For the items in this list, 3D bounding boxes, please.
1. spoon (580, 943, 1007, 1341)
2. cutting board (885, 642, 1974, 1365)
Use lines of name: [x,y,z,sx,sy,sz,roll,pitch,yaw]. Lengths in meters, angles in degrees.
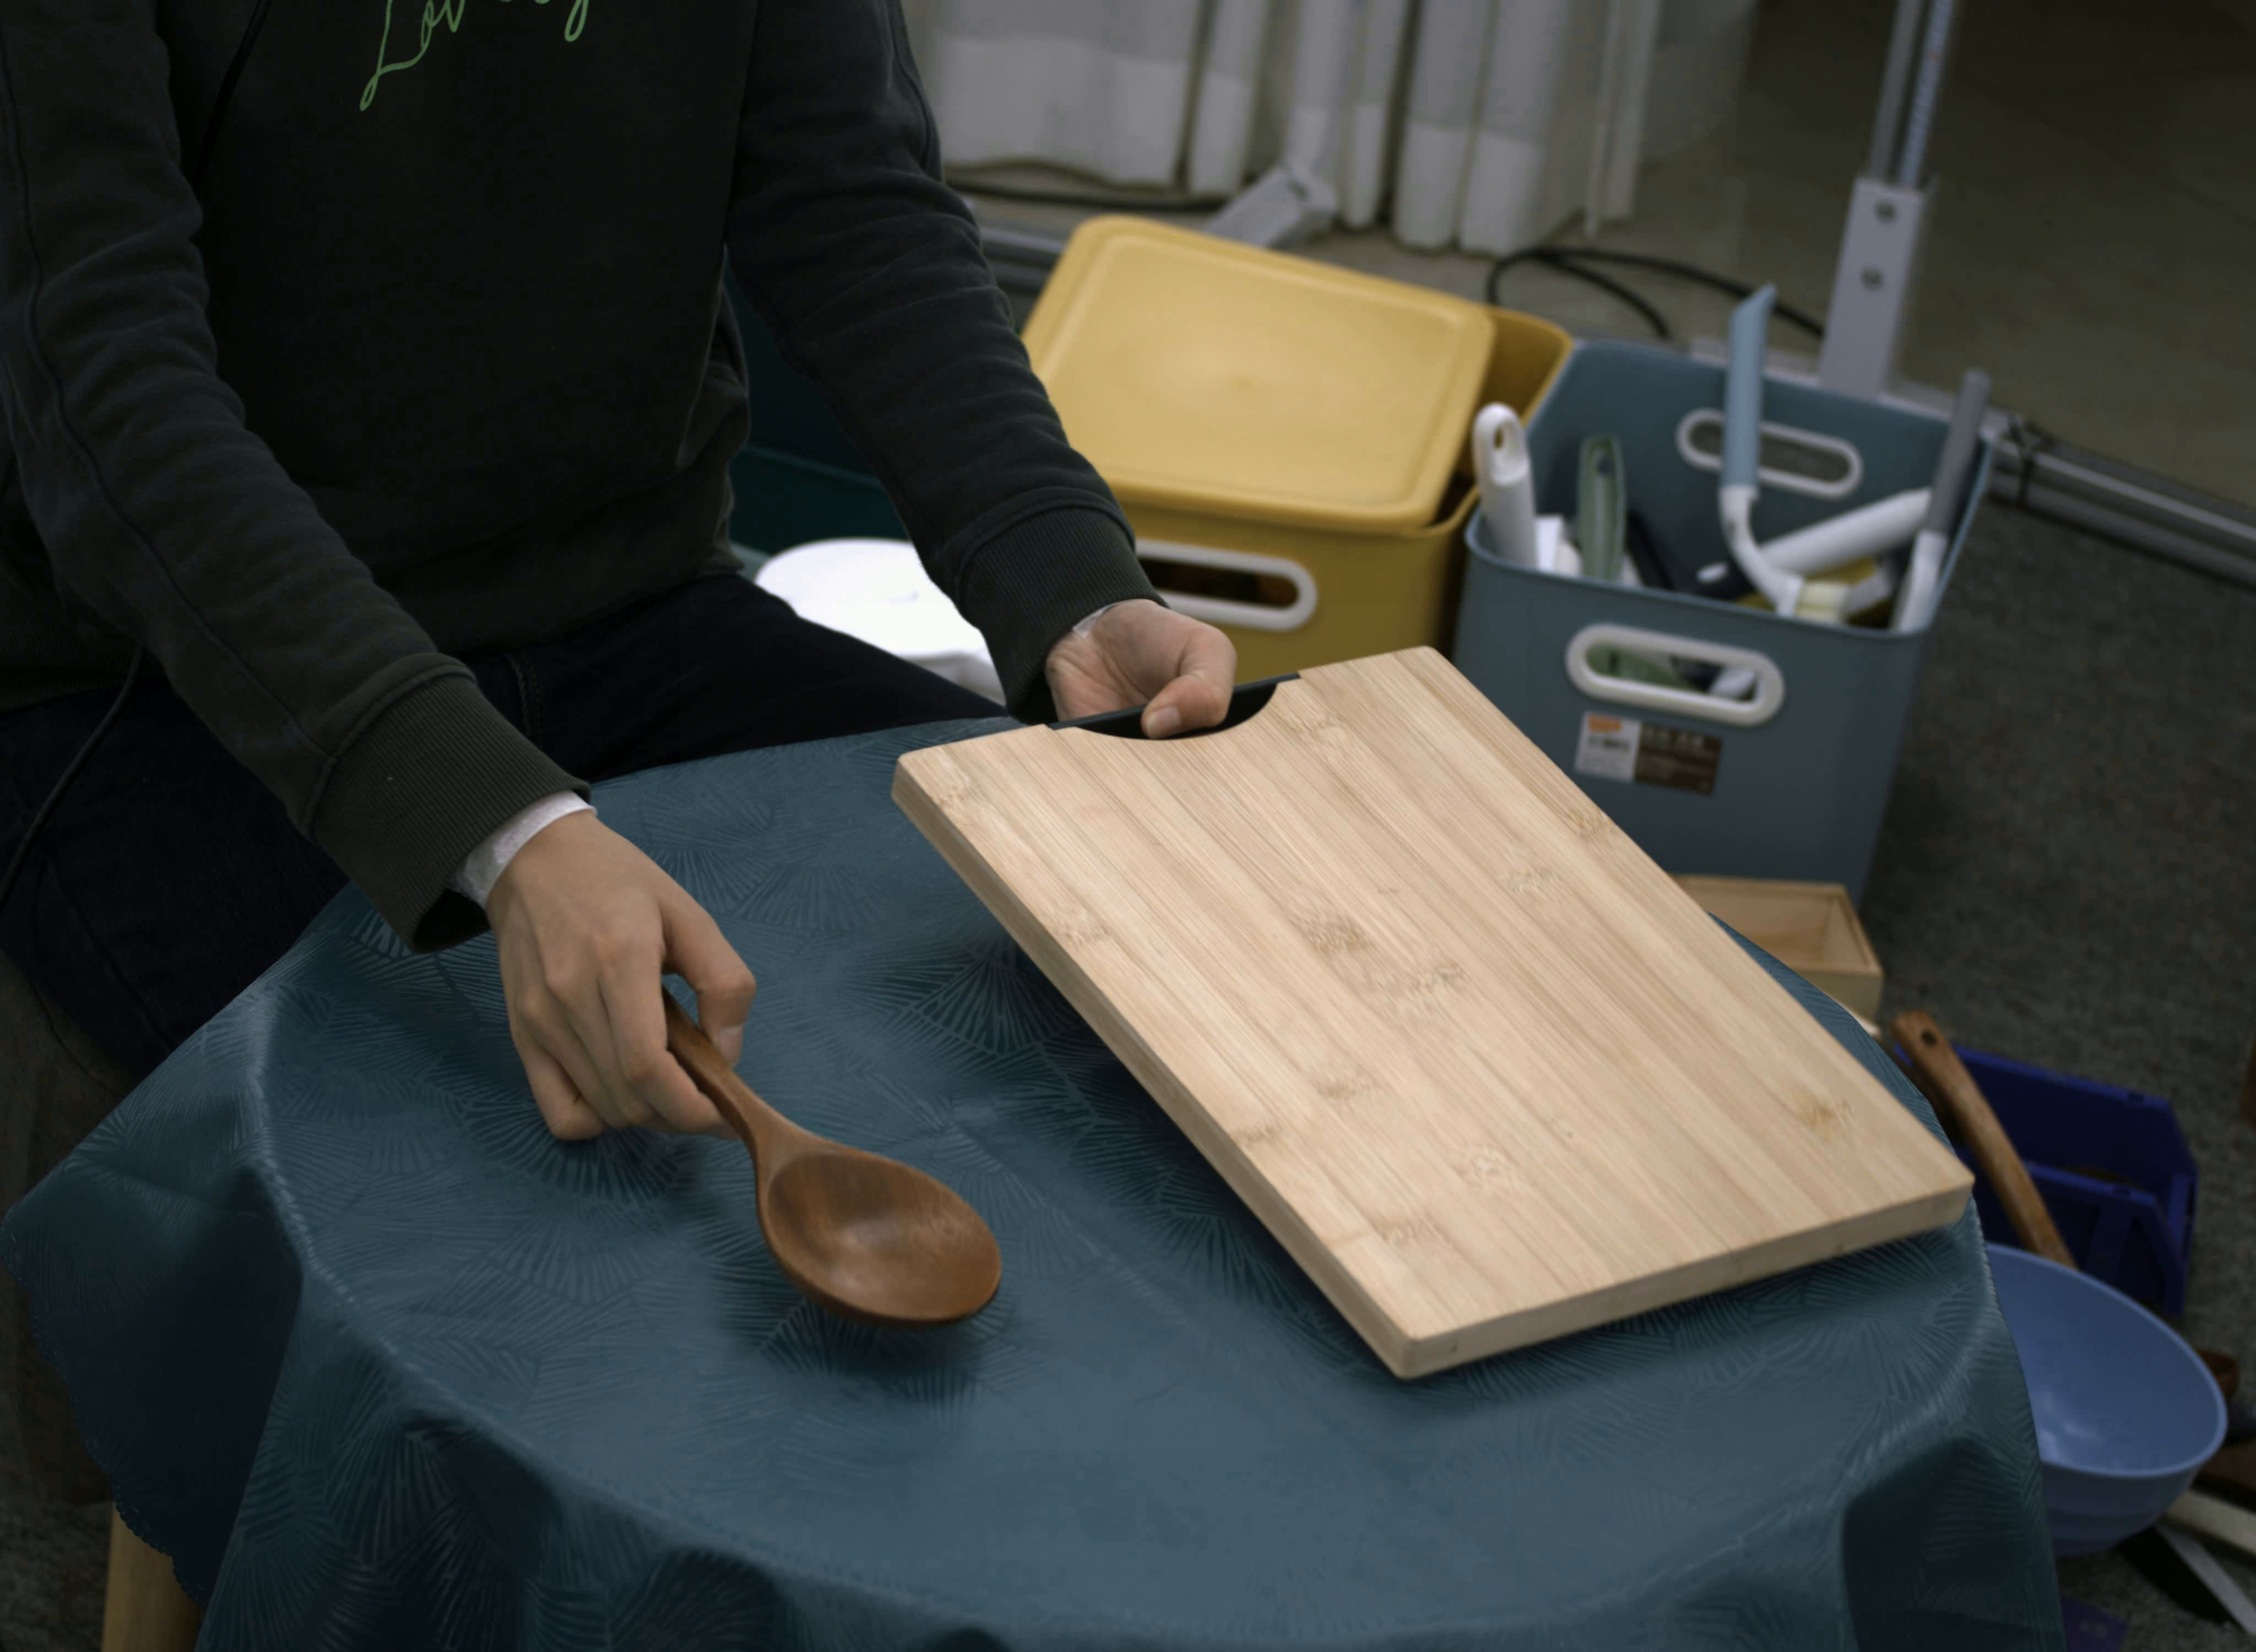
spoon: [-0.117,0.104,1.749,0.075,0.017,0.218,-16,43,-34]
cutting board: [0.100,0.054,1.871,0.249,0.023,0.352,-12,40,-31]
